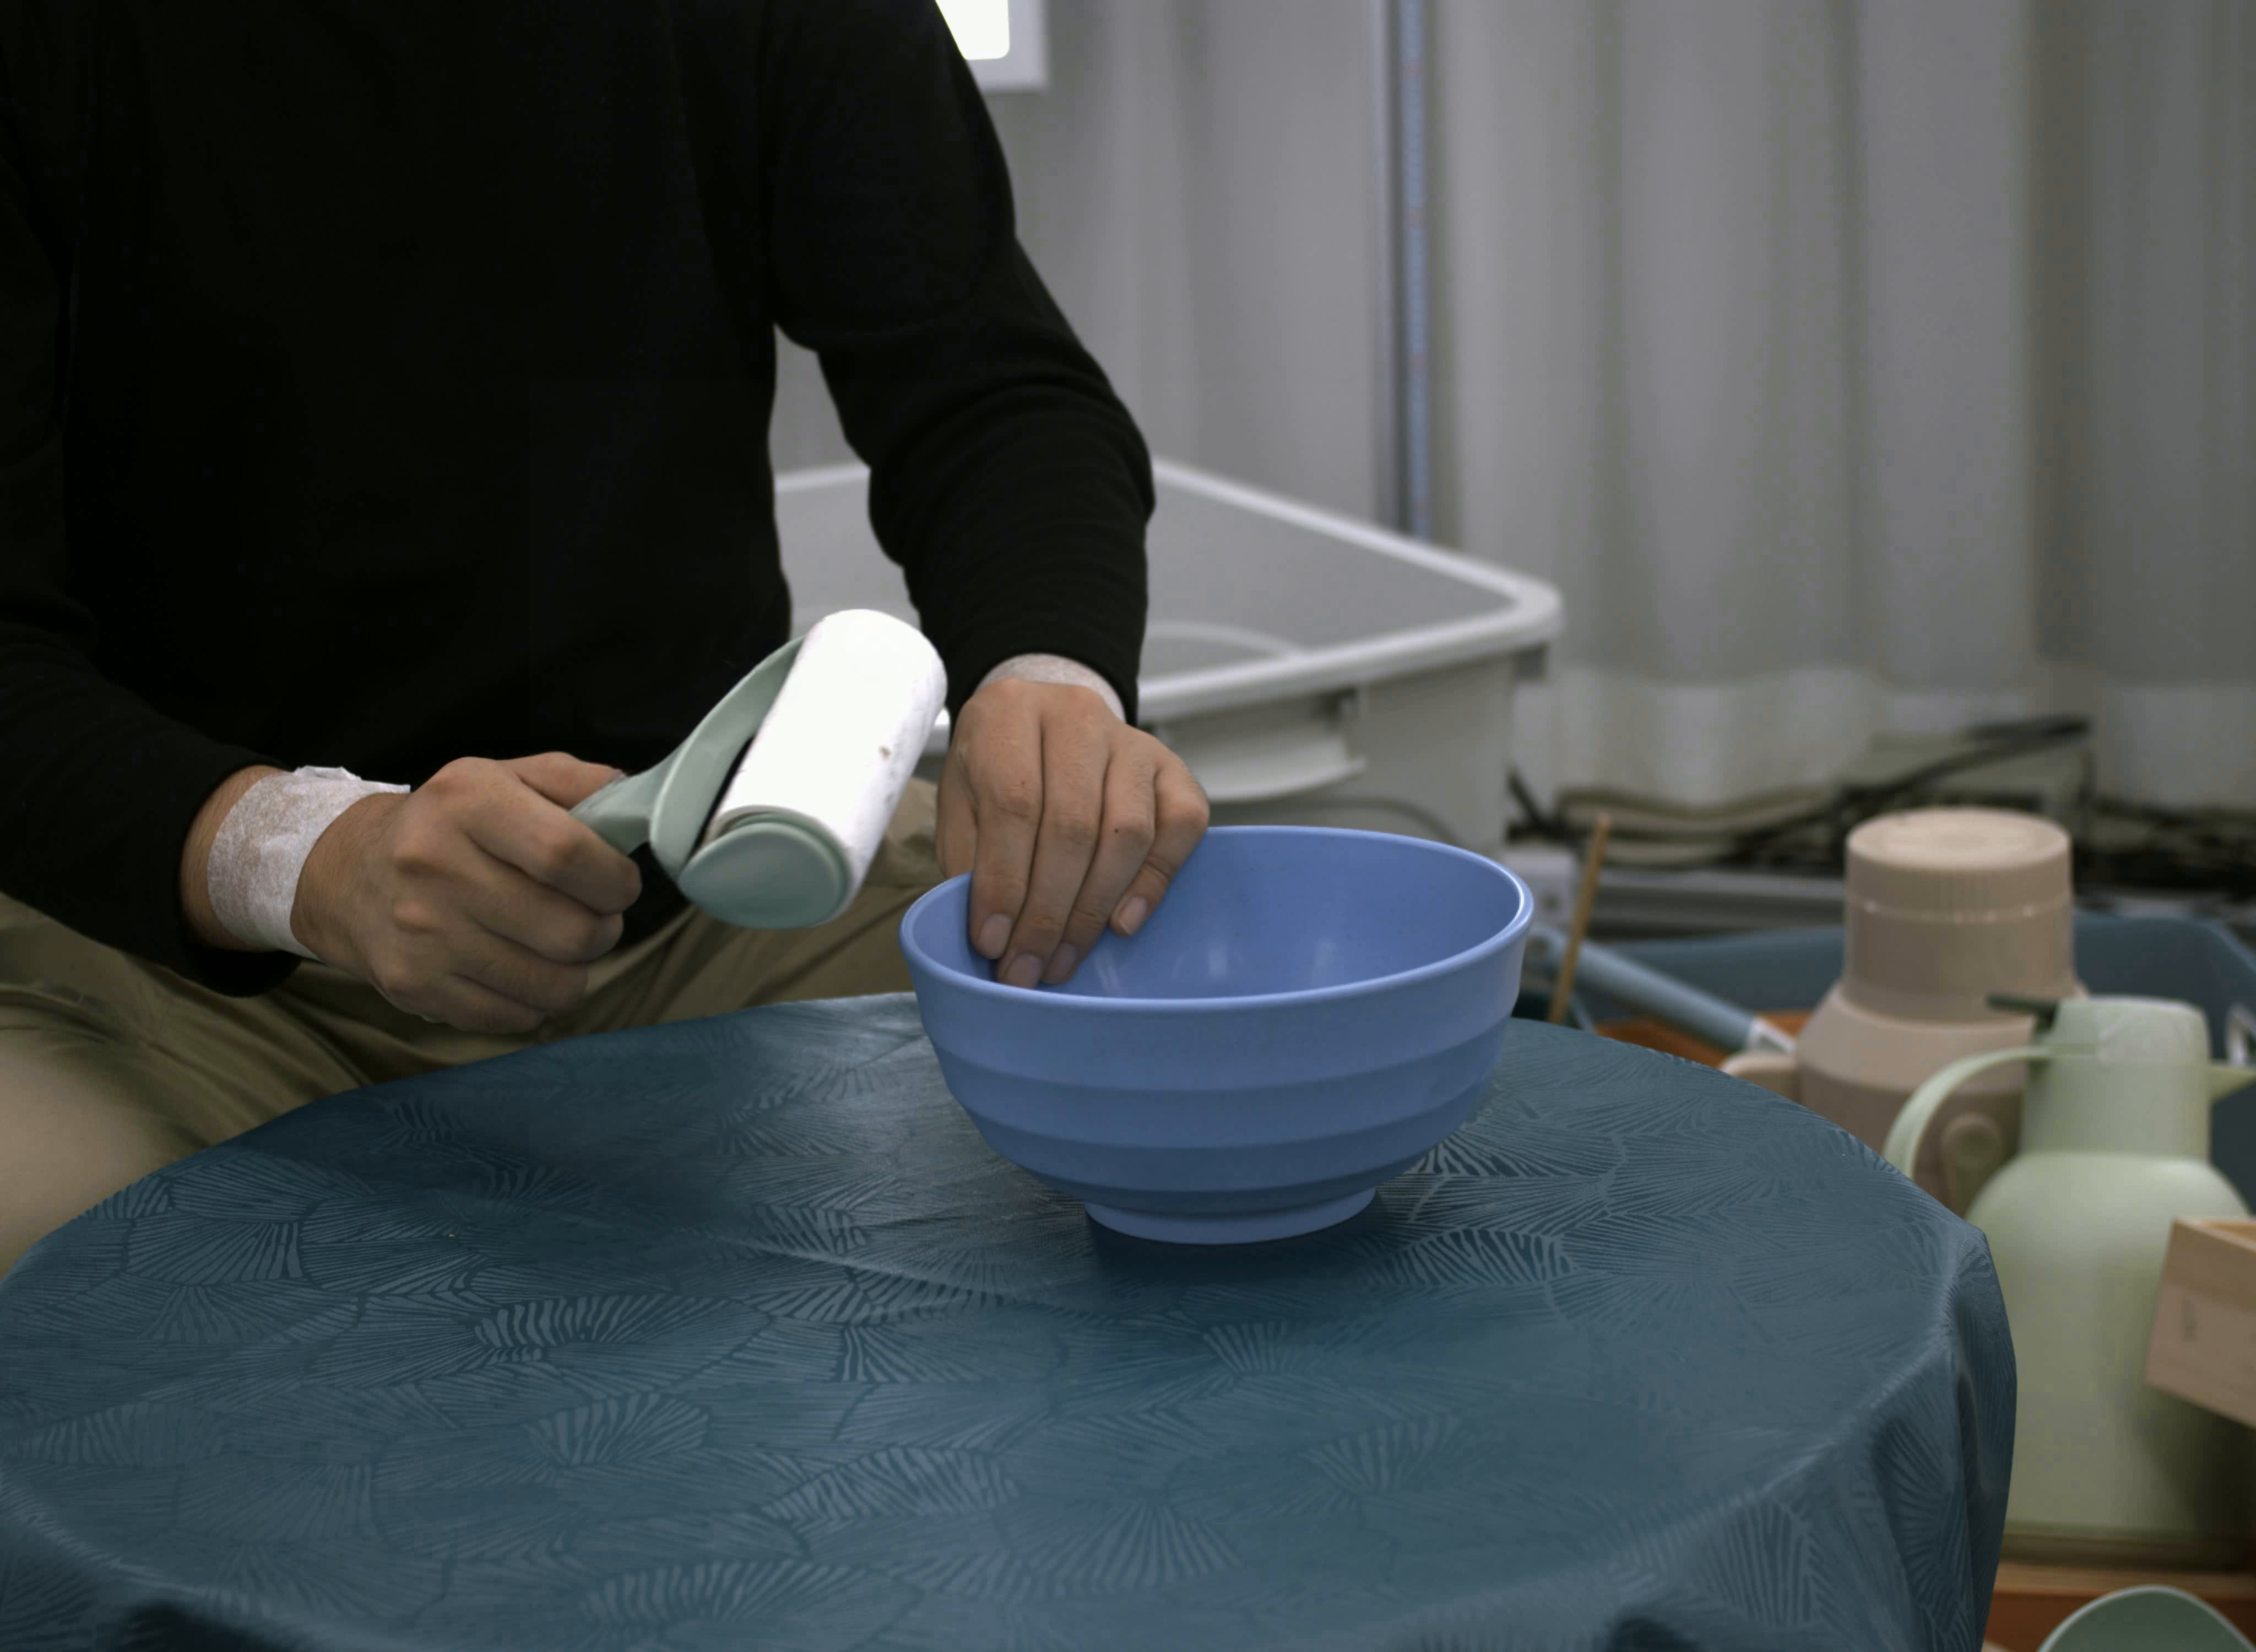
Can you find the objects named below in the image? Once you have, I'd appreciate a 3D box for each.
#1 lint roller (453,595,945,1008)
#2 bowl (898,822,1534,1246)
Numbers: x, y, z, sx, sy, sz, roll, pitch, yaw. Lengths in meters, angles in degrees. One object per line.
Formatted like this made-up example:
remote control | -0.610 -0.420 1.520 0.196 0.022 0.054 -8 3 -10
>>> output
lint roller | -0.146 0.003 1.709 0.197 0.048 0.118 -24 28 32
bowl | 0.029 0.070 1.692 0.196 0.095 0.198 -4 15 1
